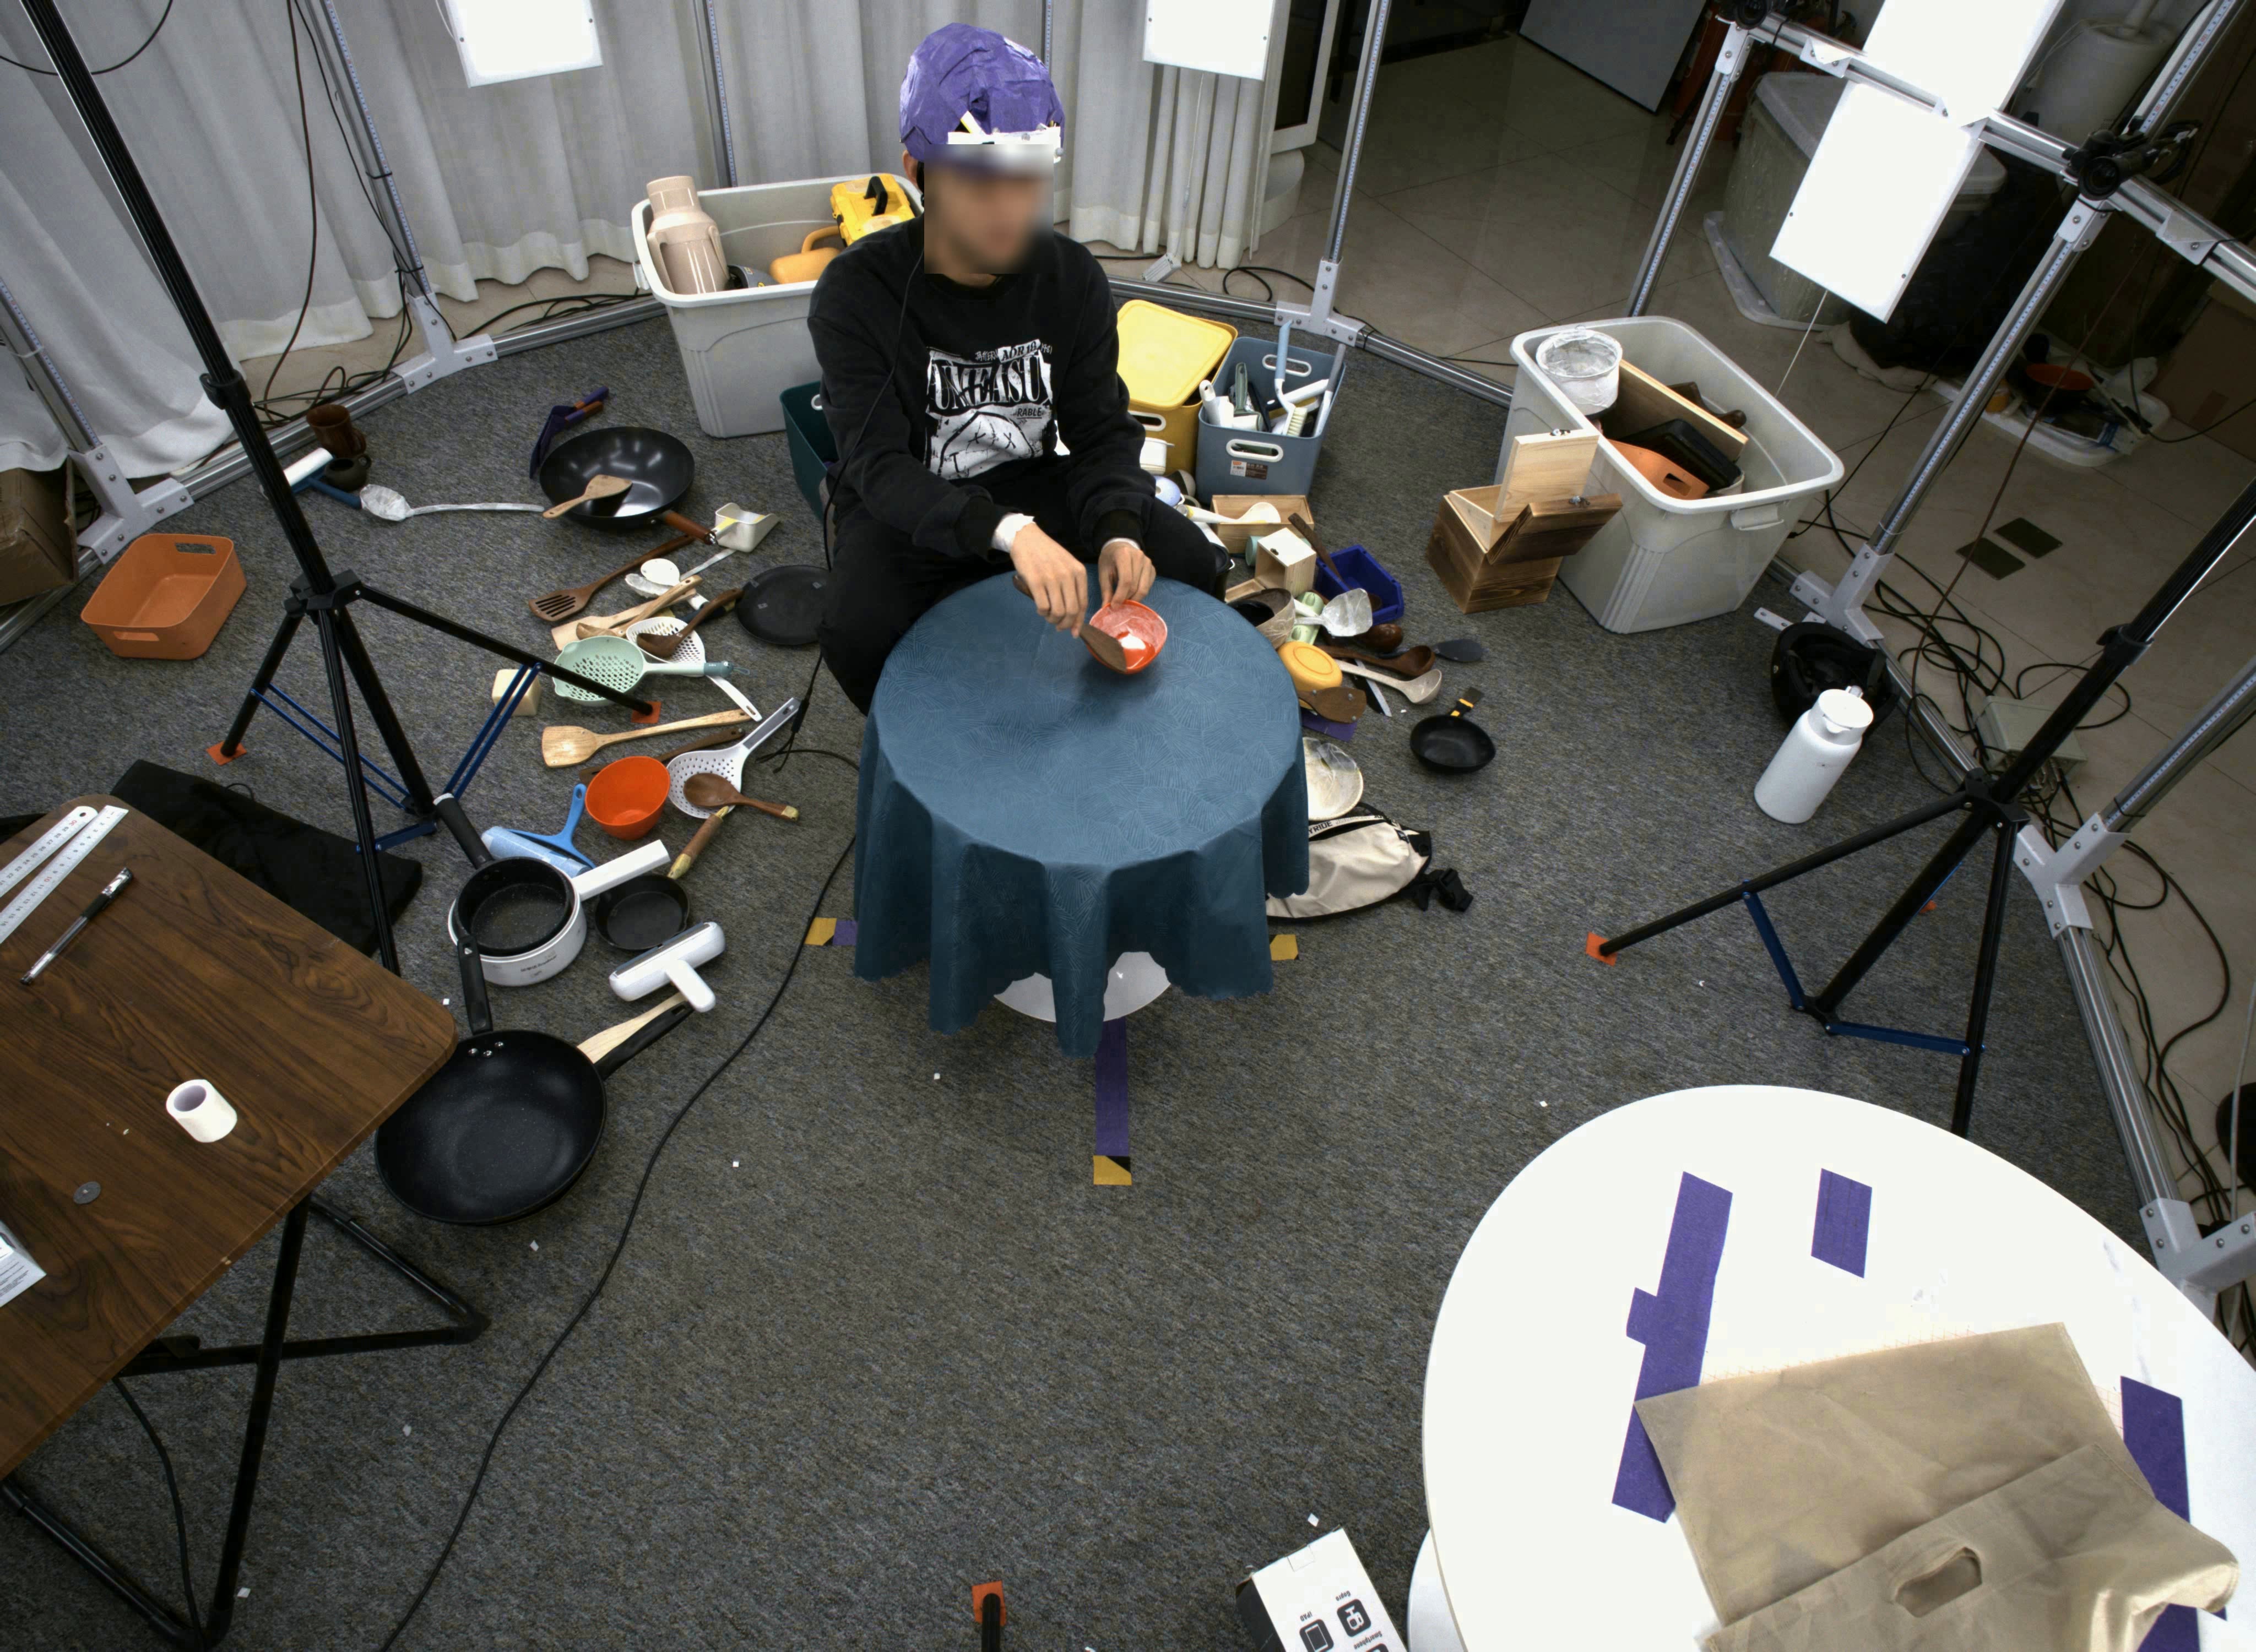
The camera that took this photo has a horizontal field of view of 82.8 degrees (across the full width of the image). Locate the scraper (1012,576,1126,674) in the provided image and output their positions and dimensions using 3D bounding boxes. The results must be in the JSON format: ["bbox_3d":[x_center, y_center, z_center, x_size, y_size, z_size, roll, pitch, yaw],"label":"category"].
[{"bbox_3d":[-0.080,-0.280,1.767,0.208,0.011,0.078,33,31,-33],"label":"scraper"}]

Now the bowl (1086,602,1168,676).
[{"bbox_3d":[-0.002,-0.264,1.871,0.119,0.050,0.121,0,65,0],"label":"bowl"}]
